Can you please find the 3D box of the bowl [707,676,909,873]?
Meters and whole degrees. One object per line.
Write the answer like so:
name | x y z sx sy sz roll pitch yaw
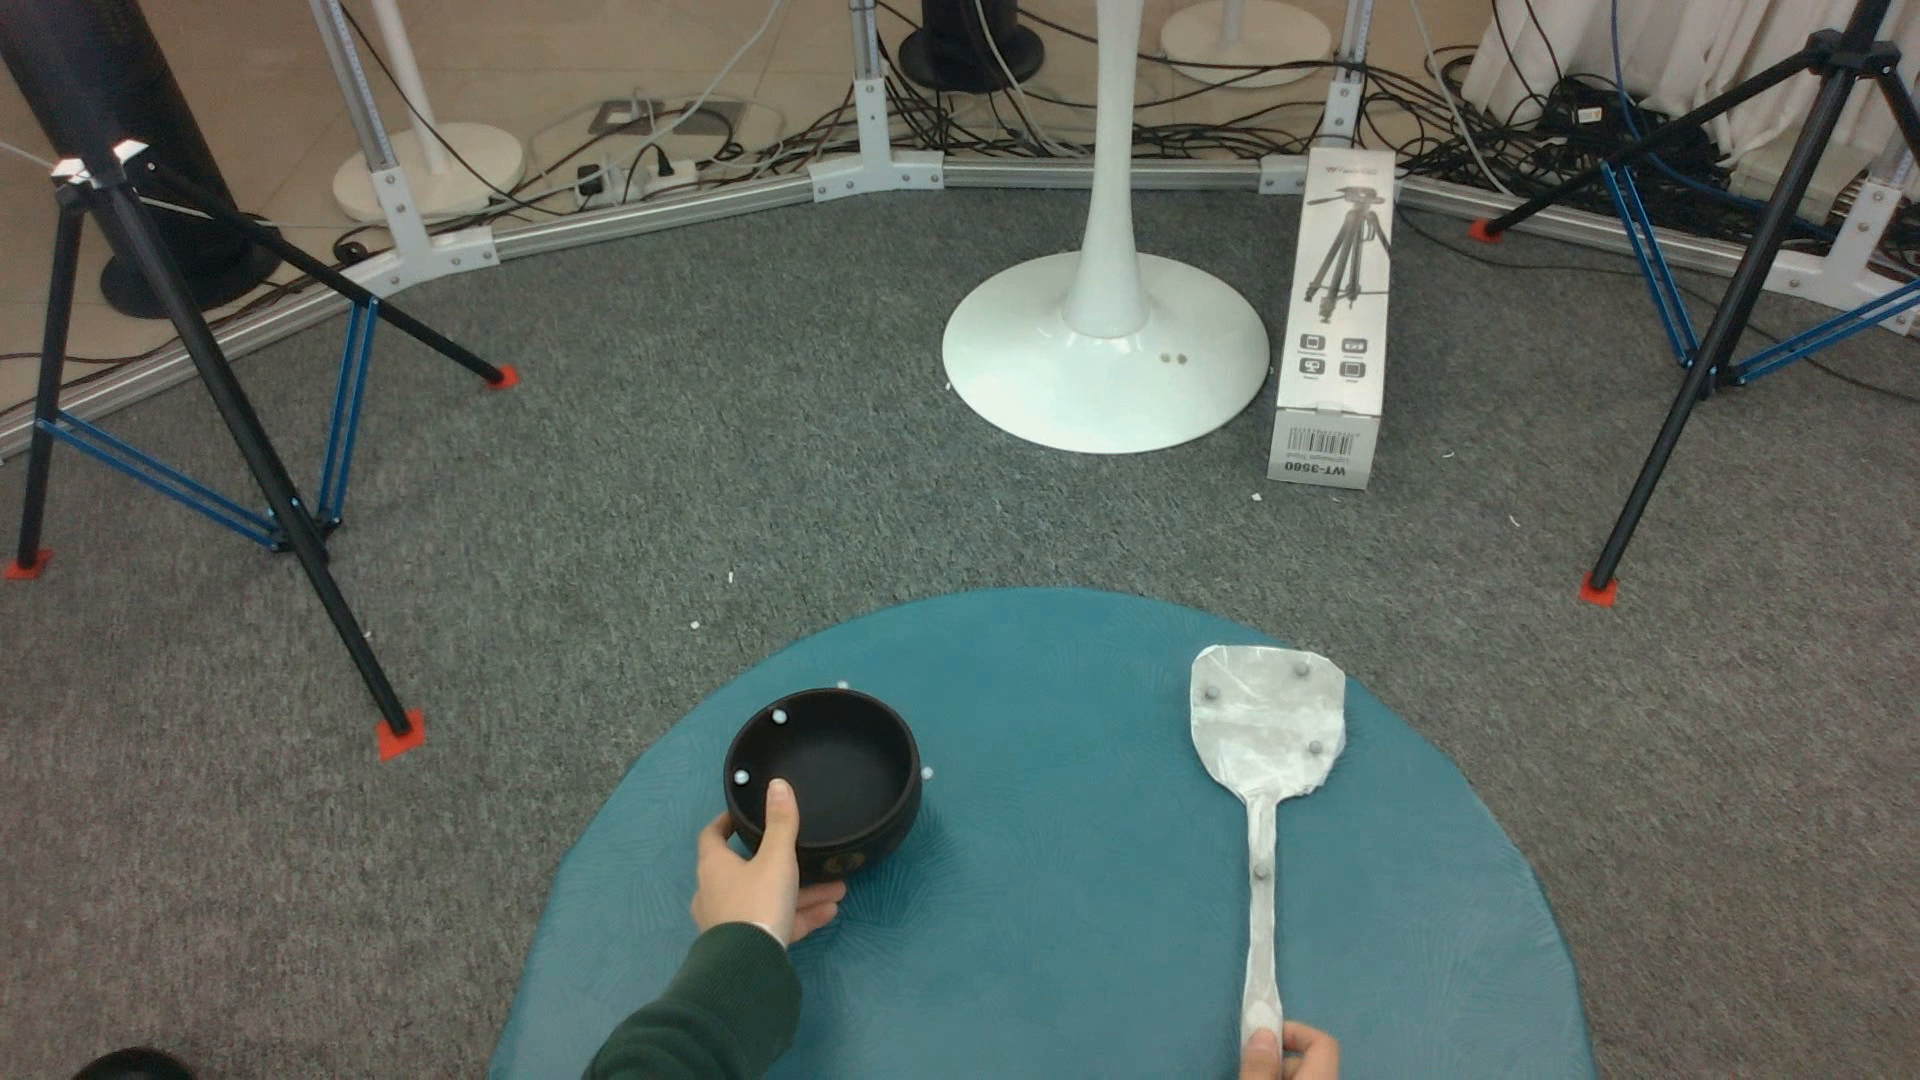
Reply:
bowl | -0.089 0.147 0.828 0.118 0.069 0.118 -2 48 2

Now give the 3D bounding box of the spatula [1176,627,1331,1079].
spatula | 0.162 0.201 0.790 0.098 0.044 0.367 8 45 7
